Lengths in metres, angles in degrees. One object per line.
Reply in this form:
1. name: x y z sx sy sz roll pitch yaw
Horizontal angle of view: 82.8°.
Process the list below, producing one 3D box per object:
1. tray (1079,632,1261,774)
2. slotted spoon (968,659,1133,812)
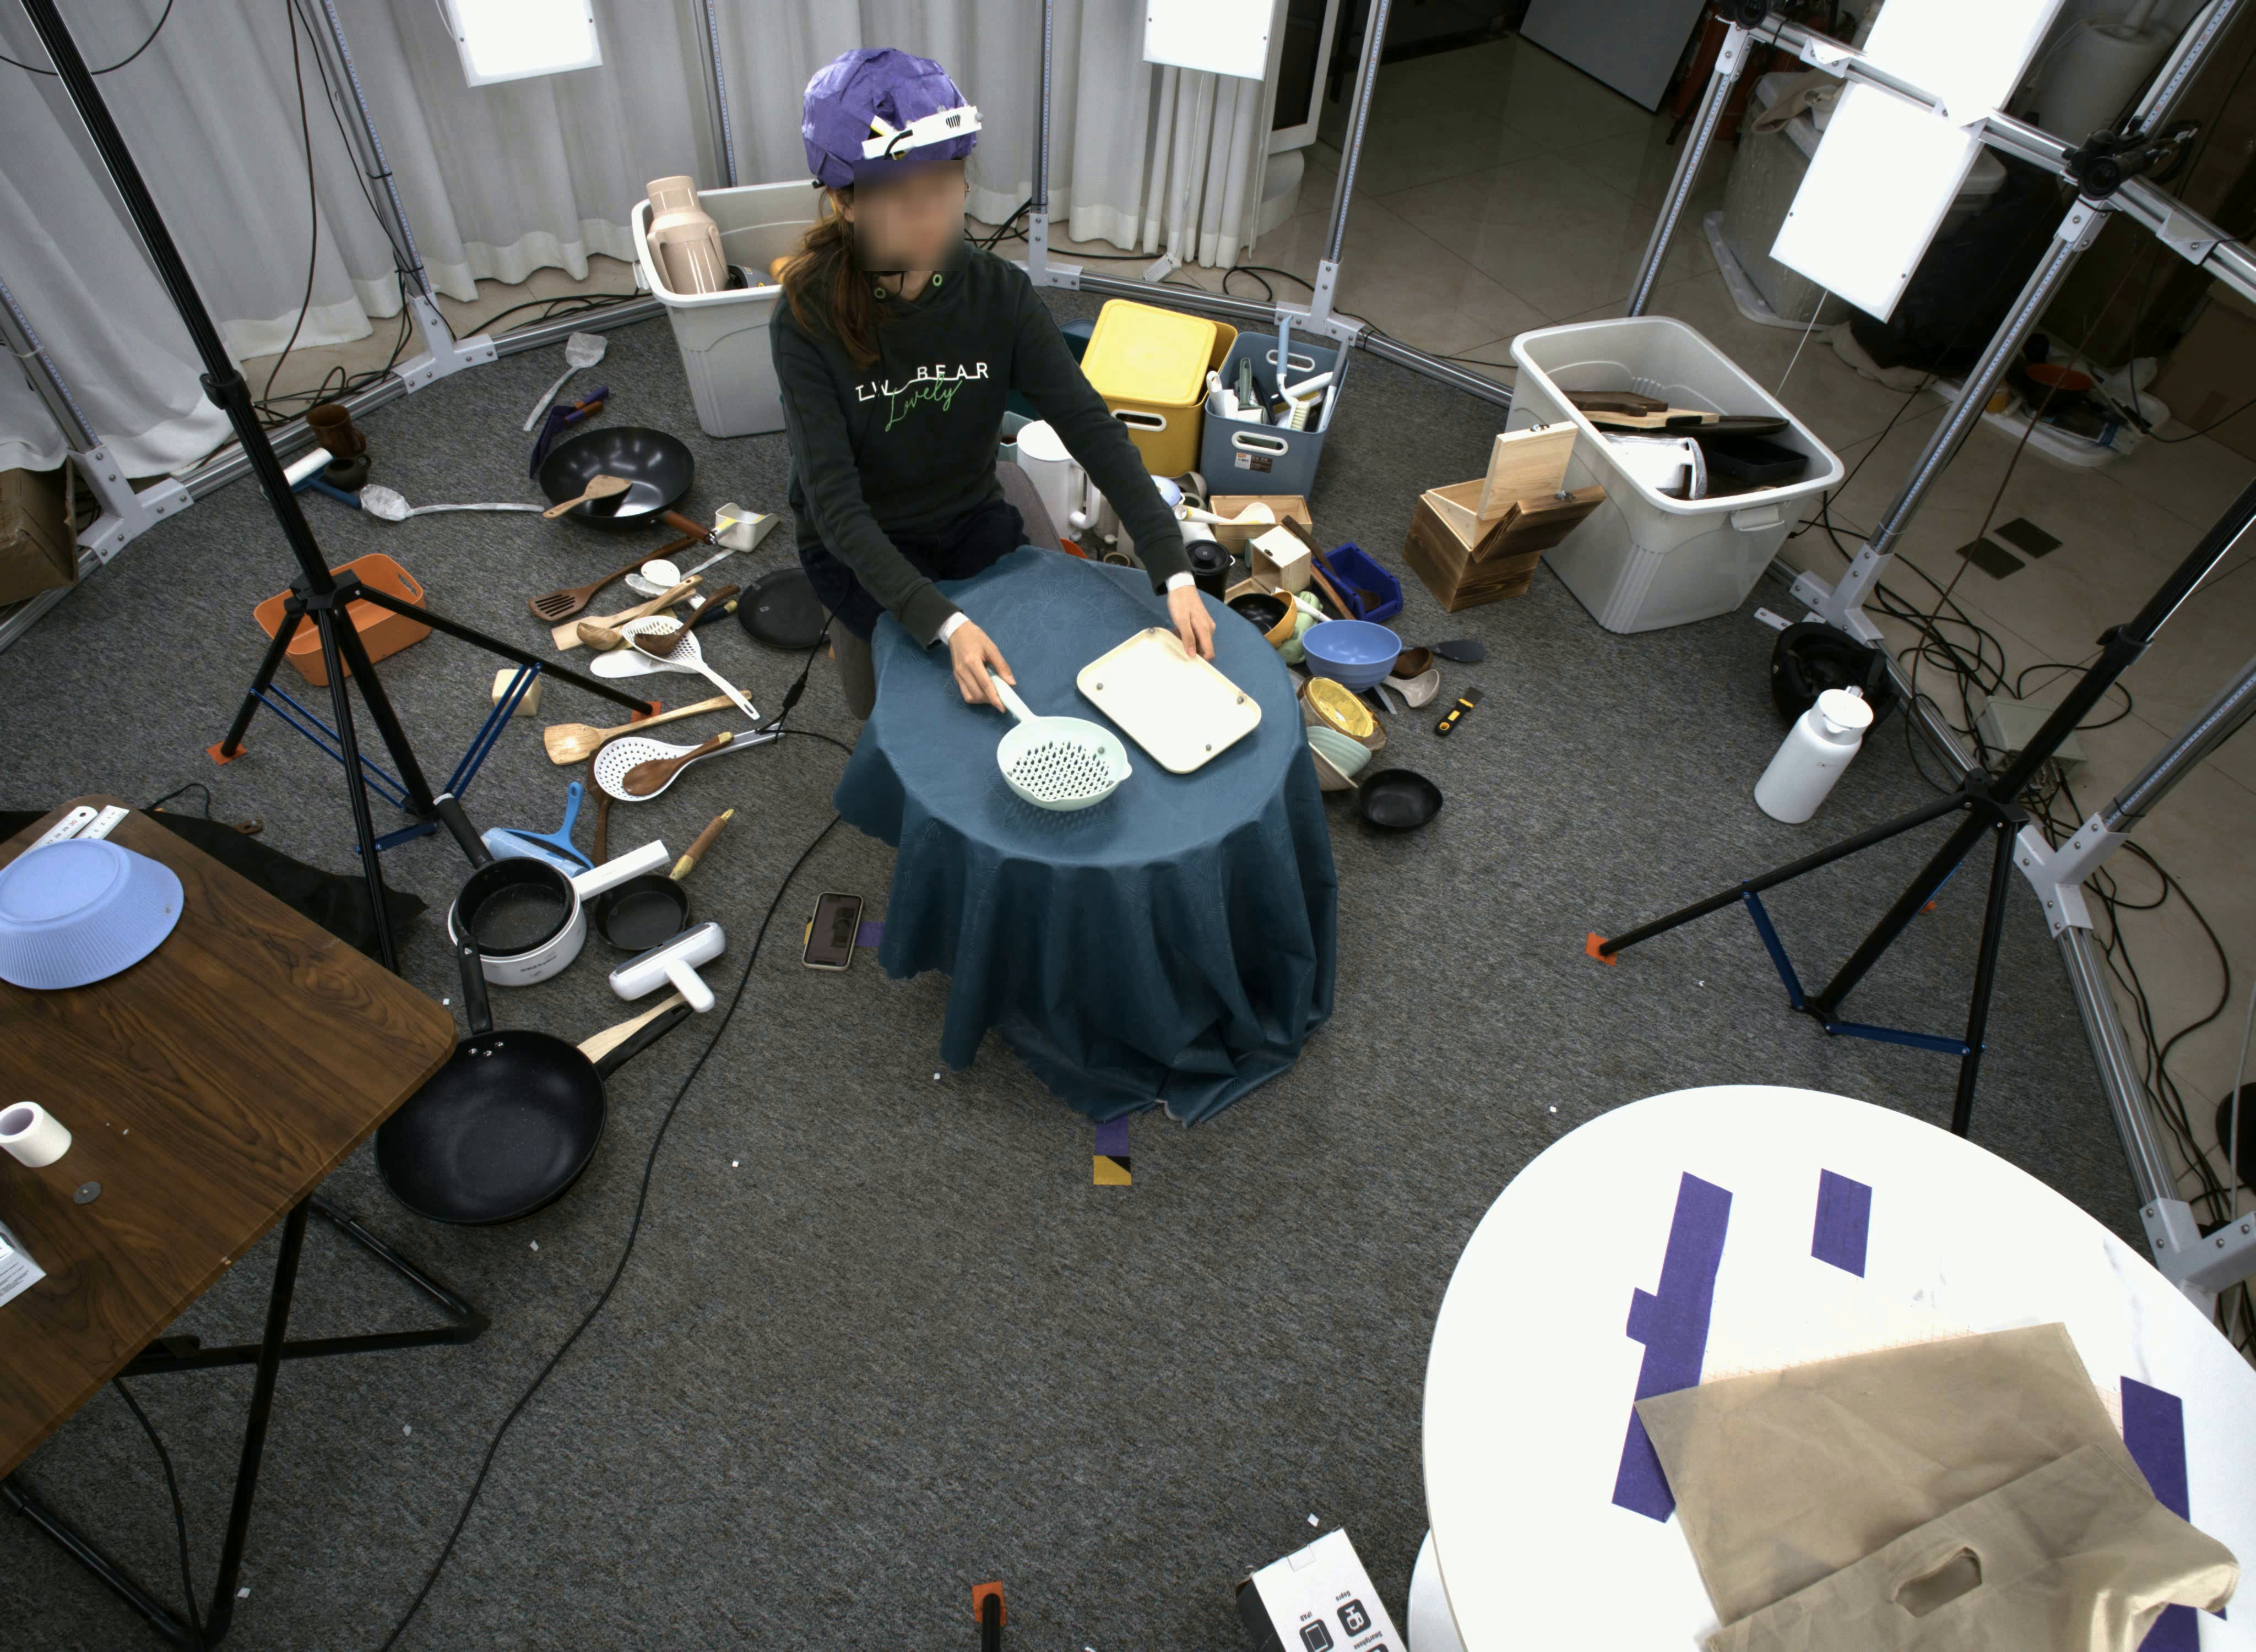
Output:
1. tray: 0.058 -0.176 1.820 0.172 0.017 0.244 -35 58 -22
2. slotted spoon: -0.135 -0.139 1.753 0.169 0.073 0.366 -17 53 -26
